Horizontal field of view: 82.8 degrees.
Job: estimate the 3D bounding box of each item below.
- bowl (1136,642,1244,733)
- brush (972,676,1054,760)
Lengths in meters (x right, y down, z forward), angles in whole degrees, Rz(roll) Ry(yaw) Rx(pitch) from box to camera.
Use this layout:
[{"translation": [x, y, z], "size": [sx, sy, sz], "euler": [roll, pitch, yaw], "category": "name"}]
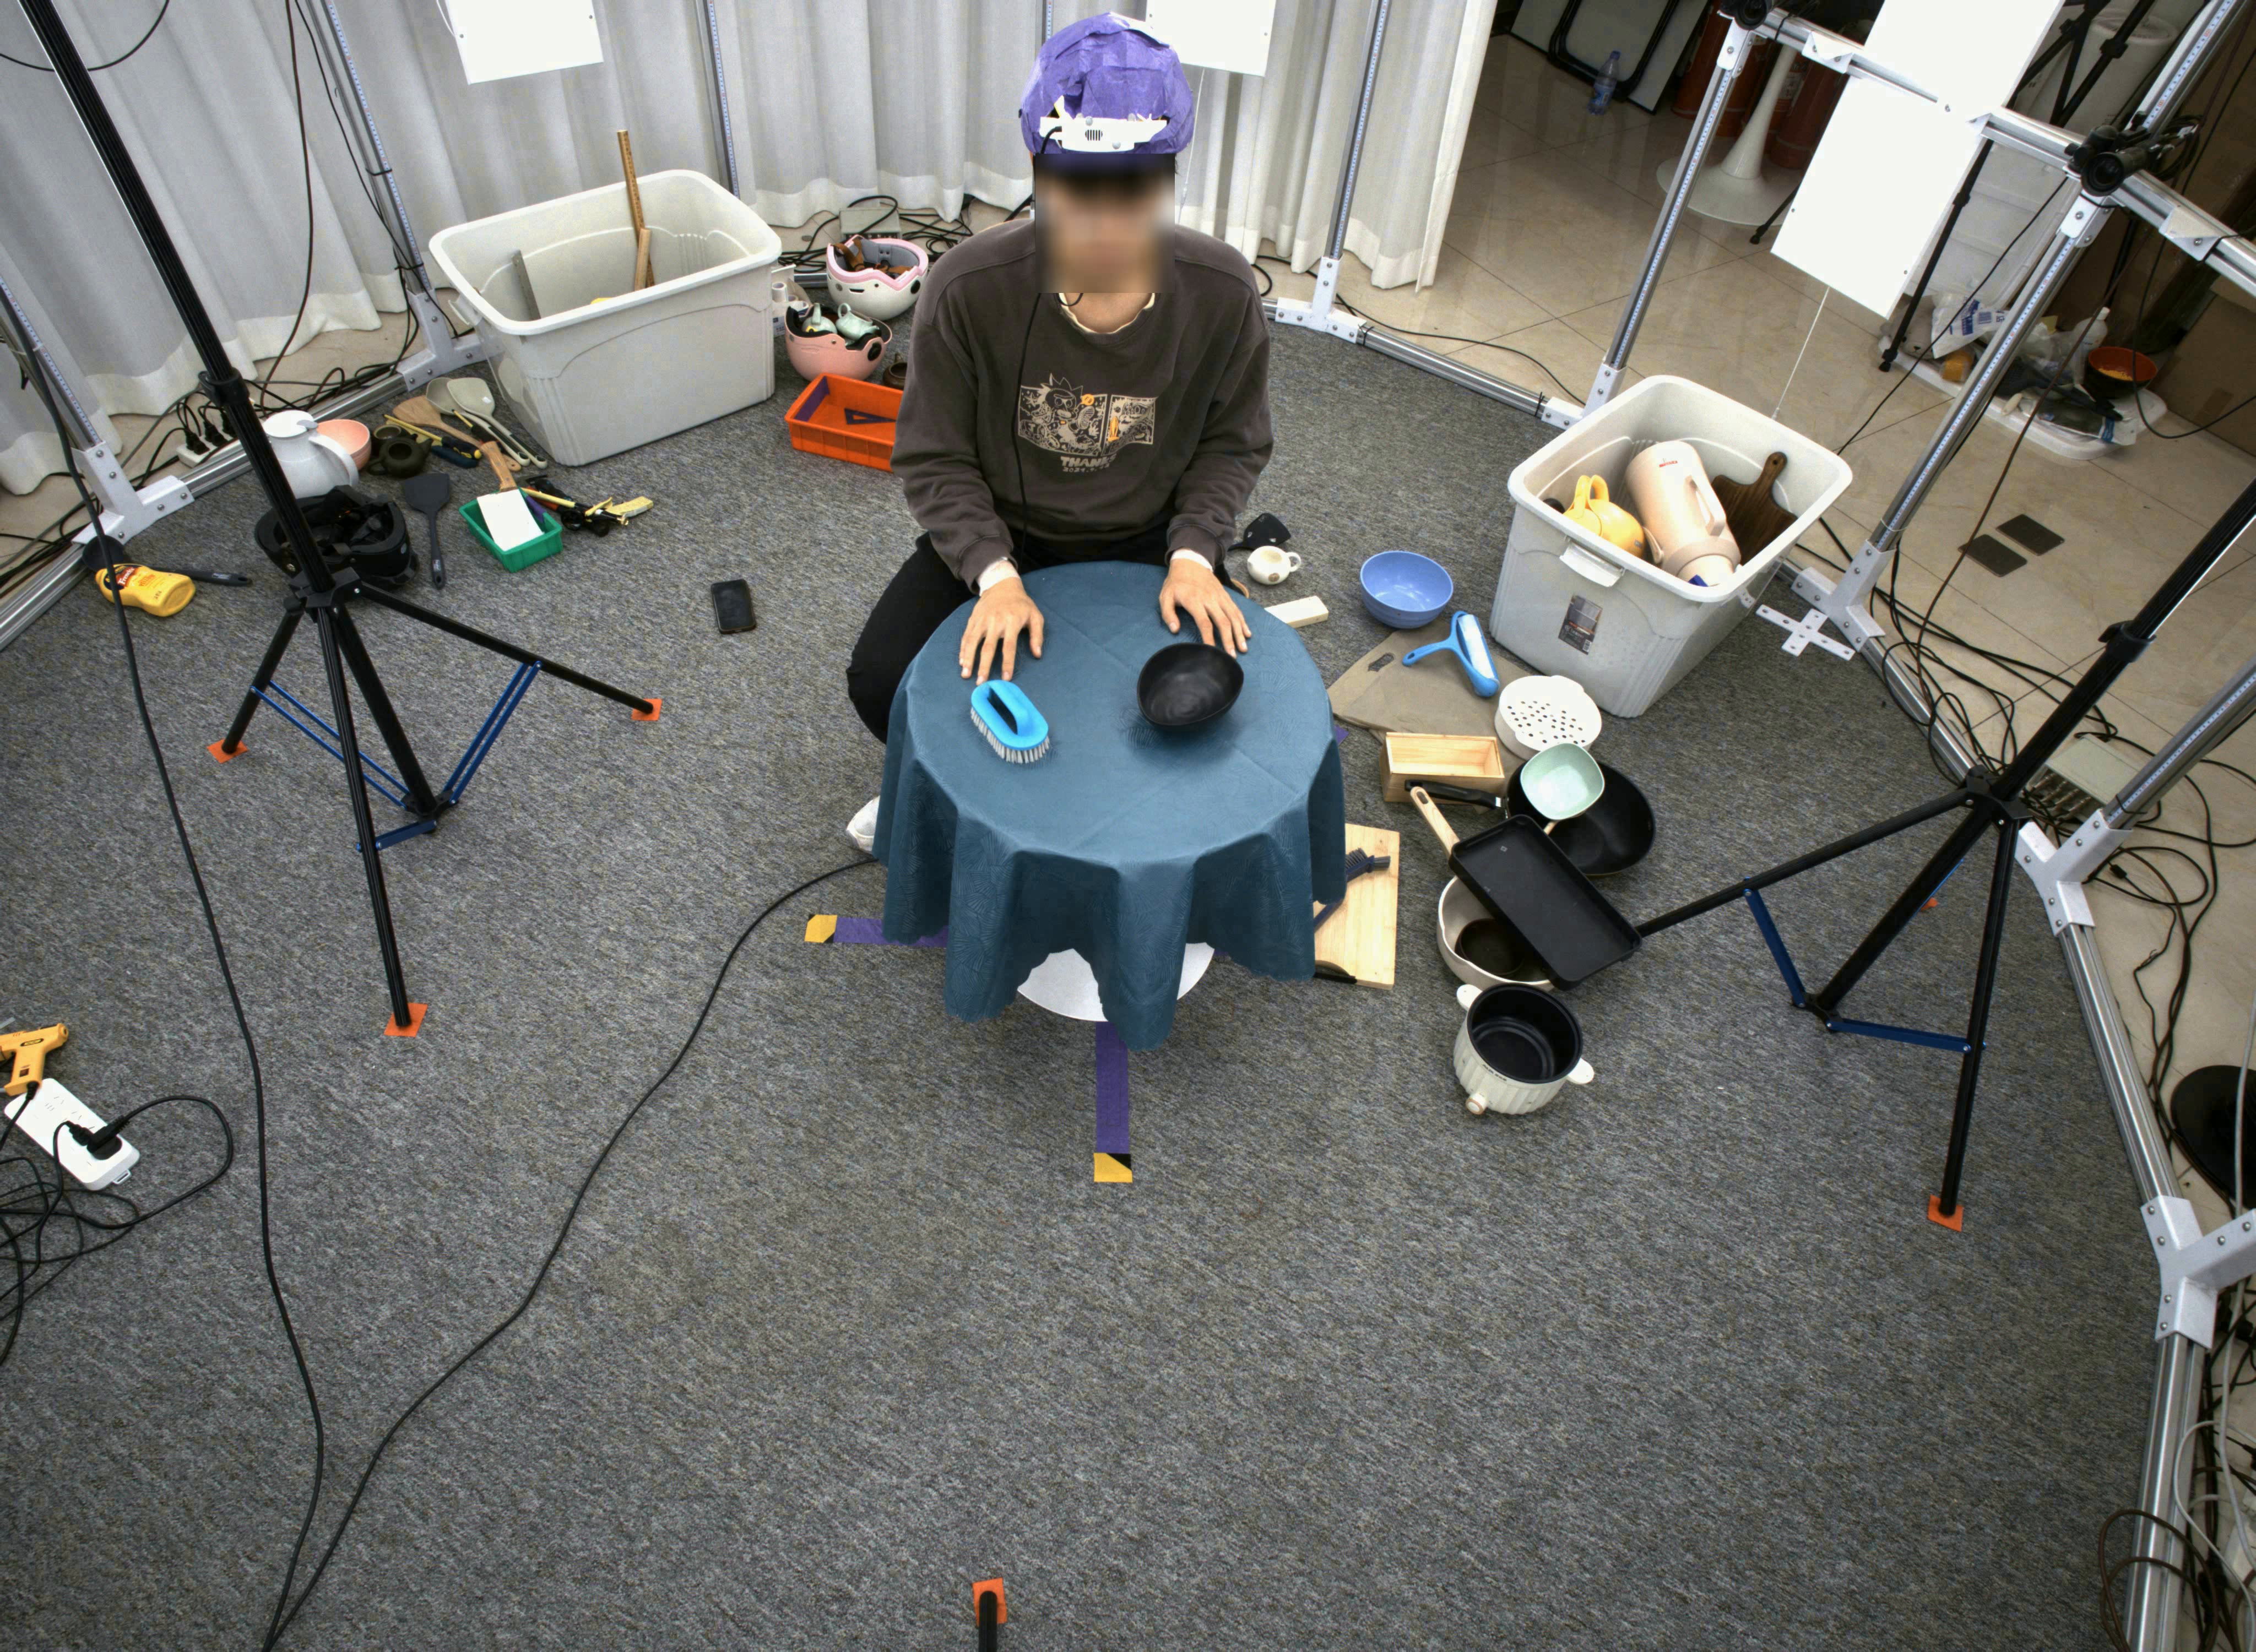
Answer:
[{"translation": [0.085, -0.181, 1.788], "size": [0.139, 0.065, 0.172], "euler": [30, 55, 21], "category": "bowl"}, {"translation": [-0.159, -0.157, 1.750], "size": [0.084, 0.062, 0.145], "euler": [-25, 54, -17], "category": "brush"}]
